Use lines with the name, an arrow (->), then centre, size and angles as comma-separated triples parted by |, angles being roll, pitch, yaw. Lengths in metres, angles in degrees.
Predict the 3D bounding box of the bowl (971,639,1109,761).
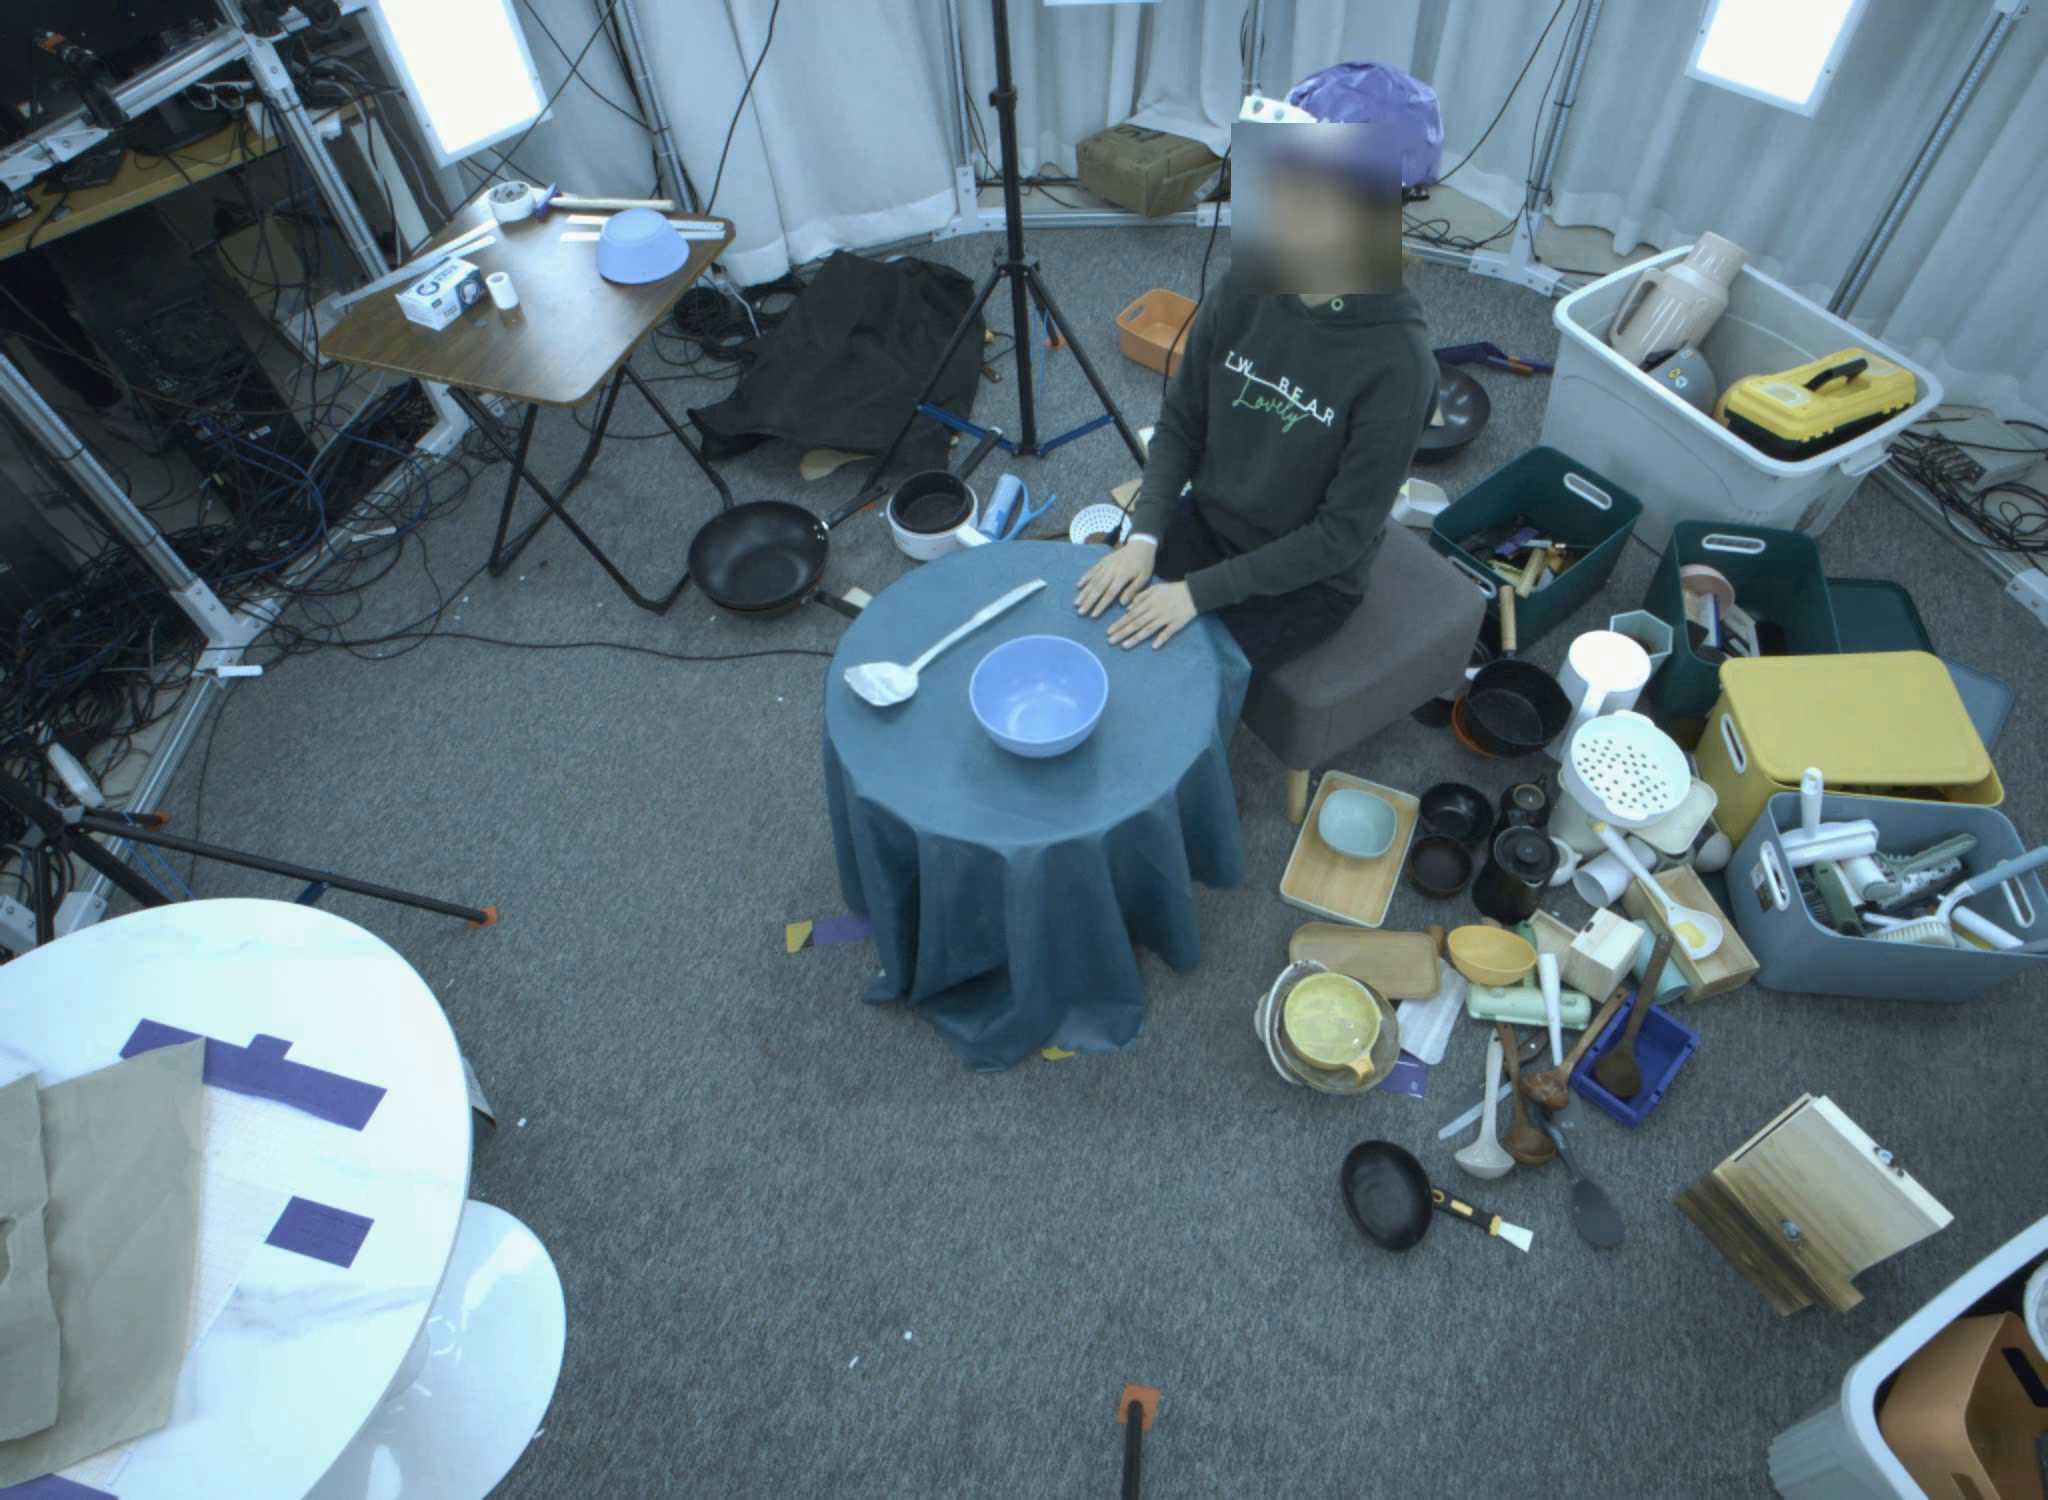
bowl -> 0.025, -0.057, 1.779 | 0.196, 0.096, 0.194 | -1, 54, 3

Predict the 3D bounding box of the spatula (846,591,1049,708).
spatula -> -0.108, -0.170, 1.896 | 0.367, 0.045, 0.097 | -36, 59, -21
